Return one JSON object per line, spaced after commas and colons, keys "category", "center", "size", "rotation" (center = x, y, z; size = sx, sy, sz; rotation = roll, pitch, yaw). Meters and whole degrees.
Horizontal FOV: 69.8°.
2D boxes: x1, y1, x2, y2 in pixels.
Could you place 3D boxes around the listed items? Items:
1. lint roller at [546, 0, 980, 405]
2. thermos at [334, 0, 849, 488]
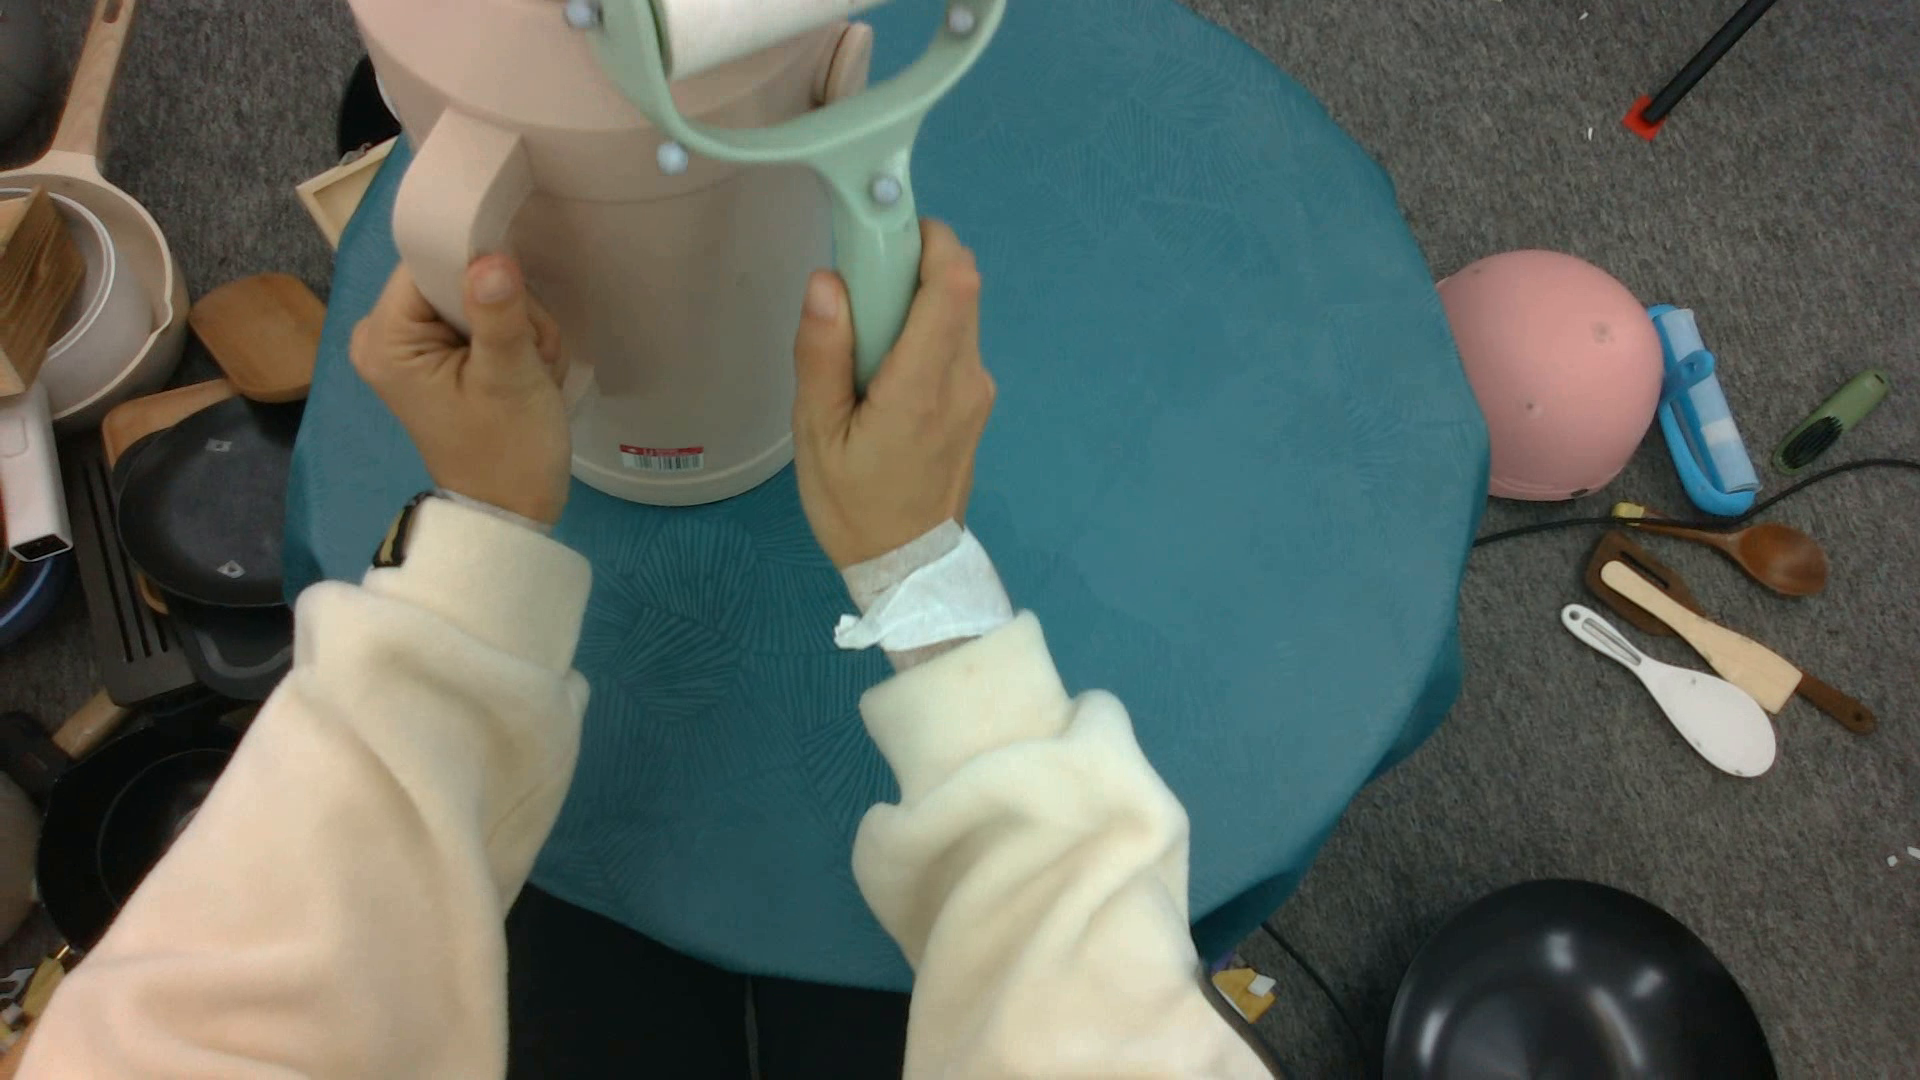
{"category": "lint roller", "center": [-0.030, -0.102, 0.417], "size": [0.048, 0.197, 0.117], "rotation": [26, 68, 40]}
{"category": "thermos", "center": [-0.136, -0.152, 0.512], "size": [0.175, 0.405, 0.208], "rotation": [20, 69, 0]}
